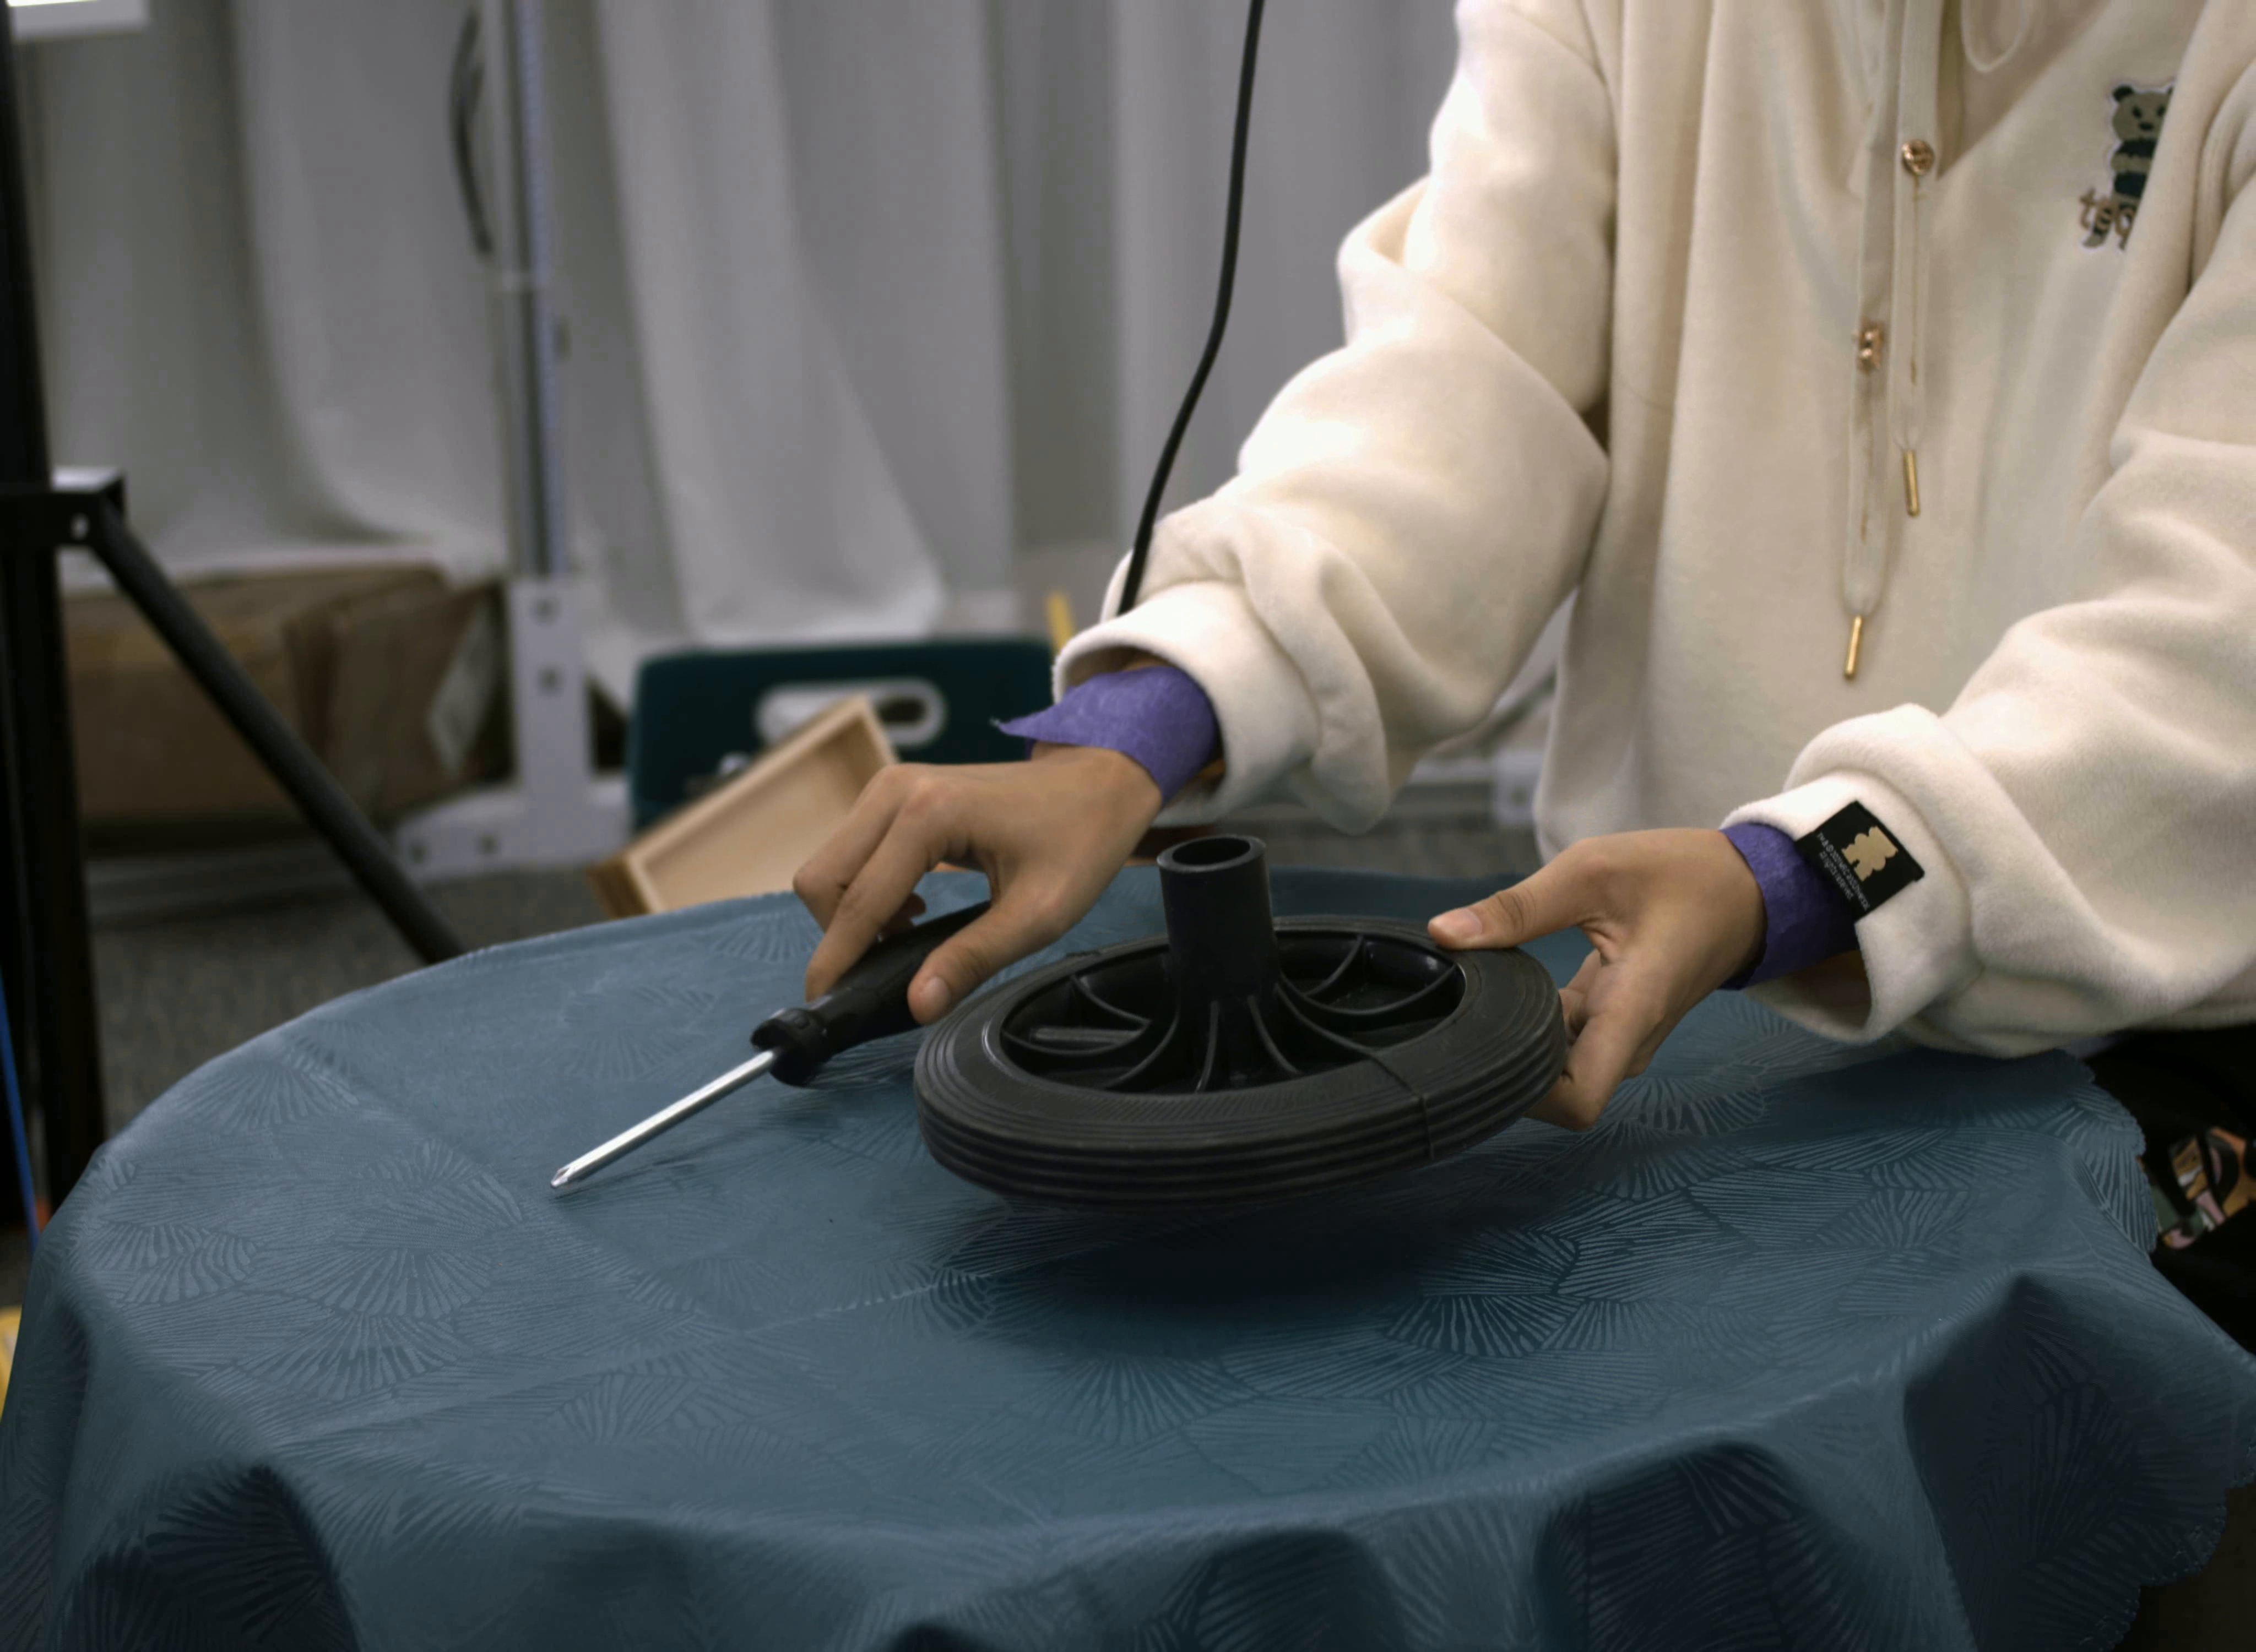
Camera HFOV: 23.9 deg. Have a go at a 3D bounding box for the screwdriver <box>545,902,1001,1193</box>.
[{"bbox_3d":[-0.106,0.069,1.636,0.032,0.031,0.193,11,29,38],"label":"screwdriver"}]

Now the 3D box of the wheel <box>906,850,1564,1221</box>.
[{"bbox_3d":[0.028,0.049,1.516,0.190,0.079,0.188,-8,17,6],"label":"wheel"}]
